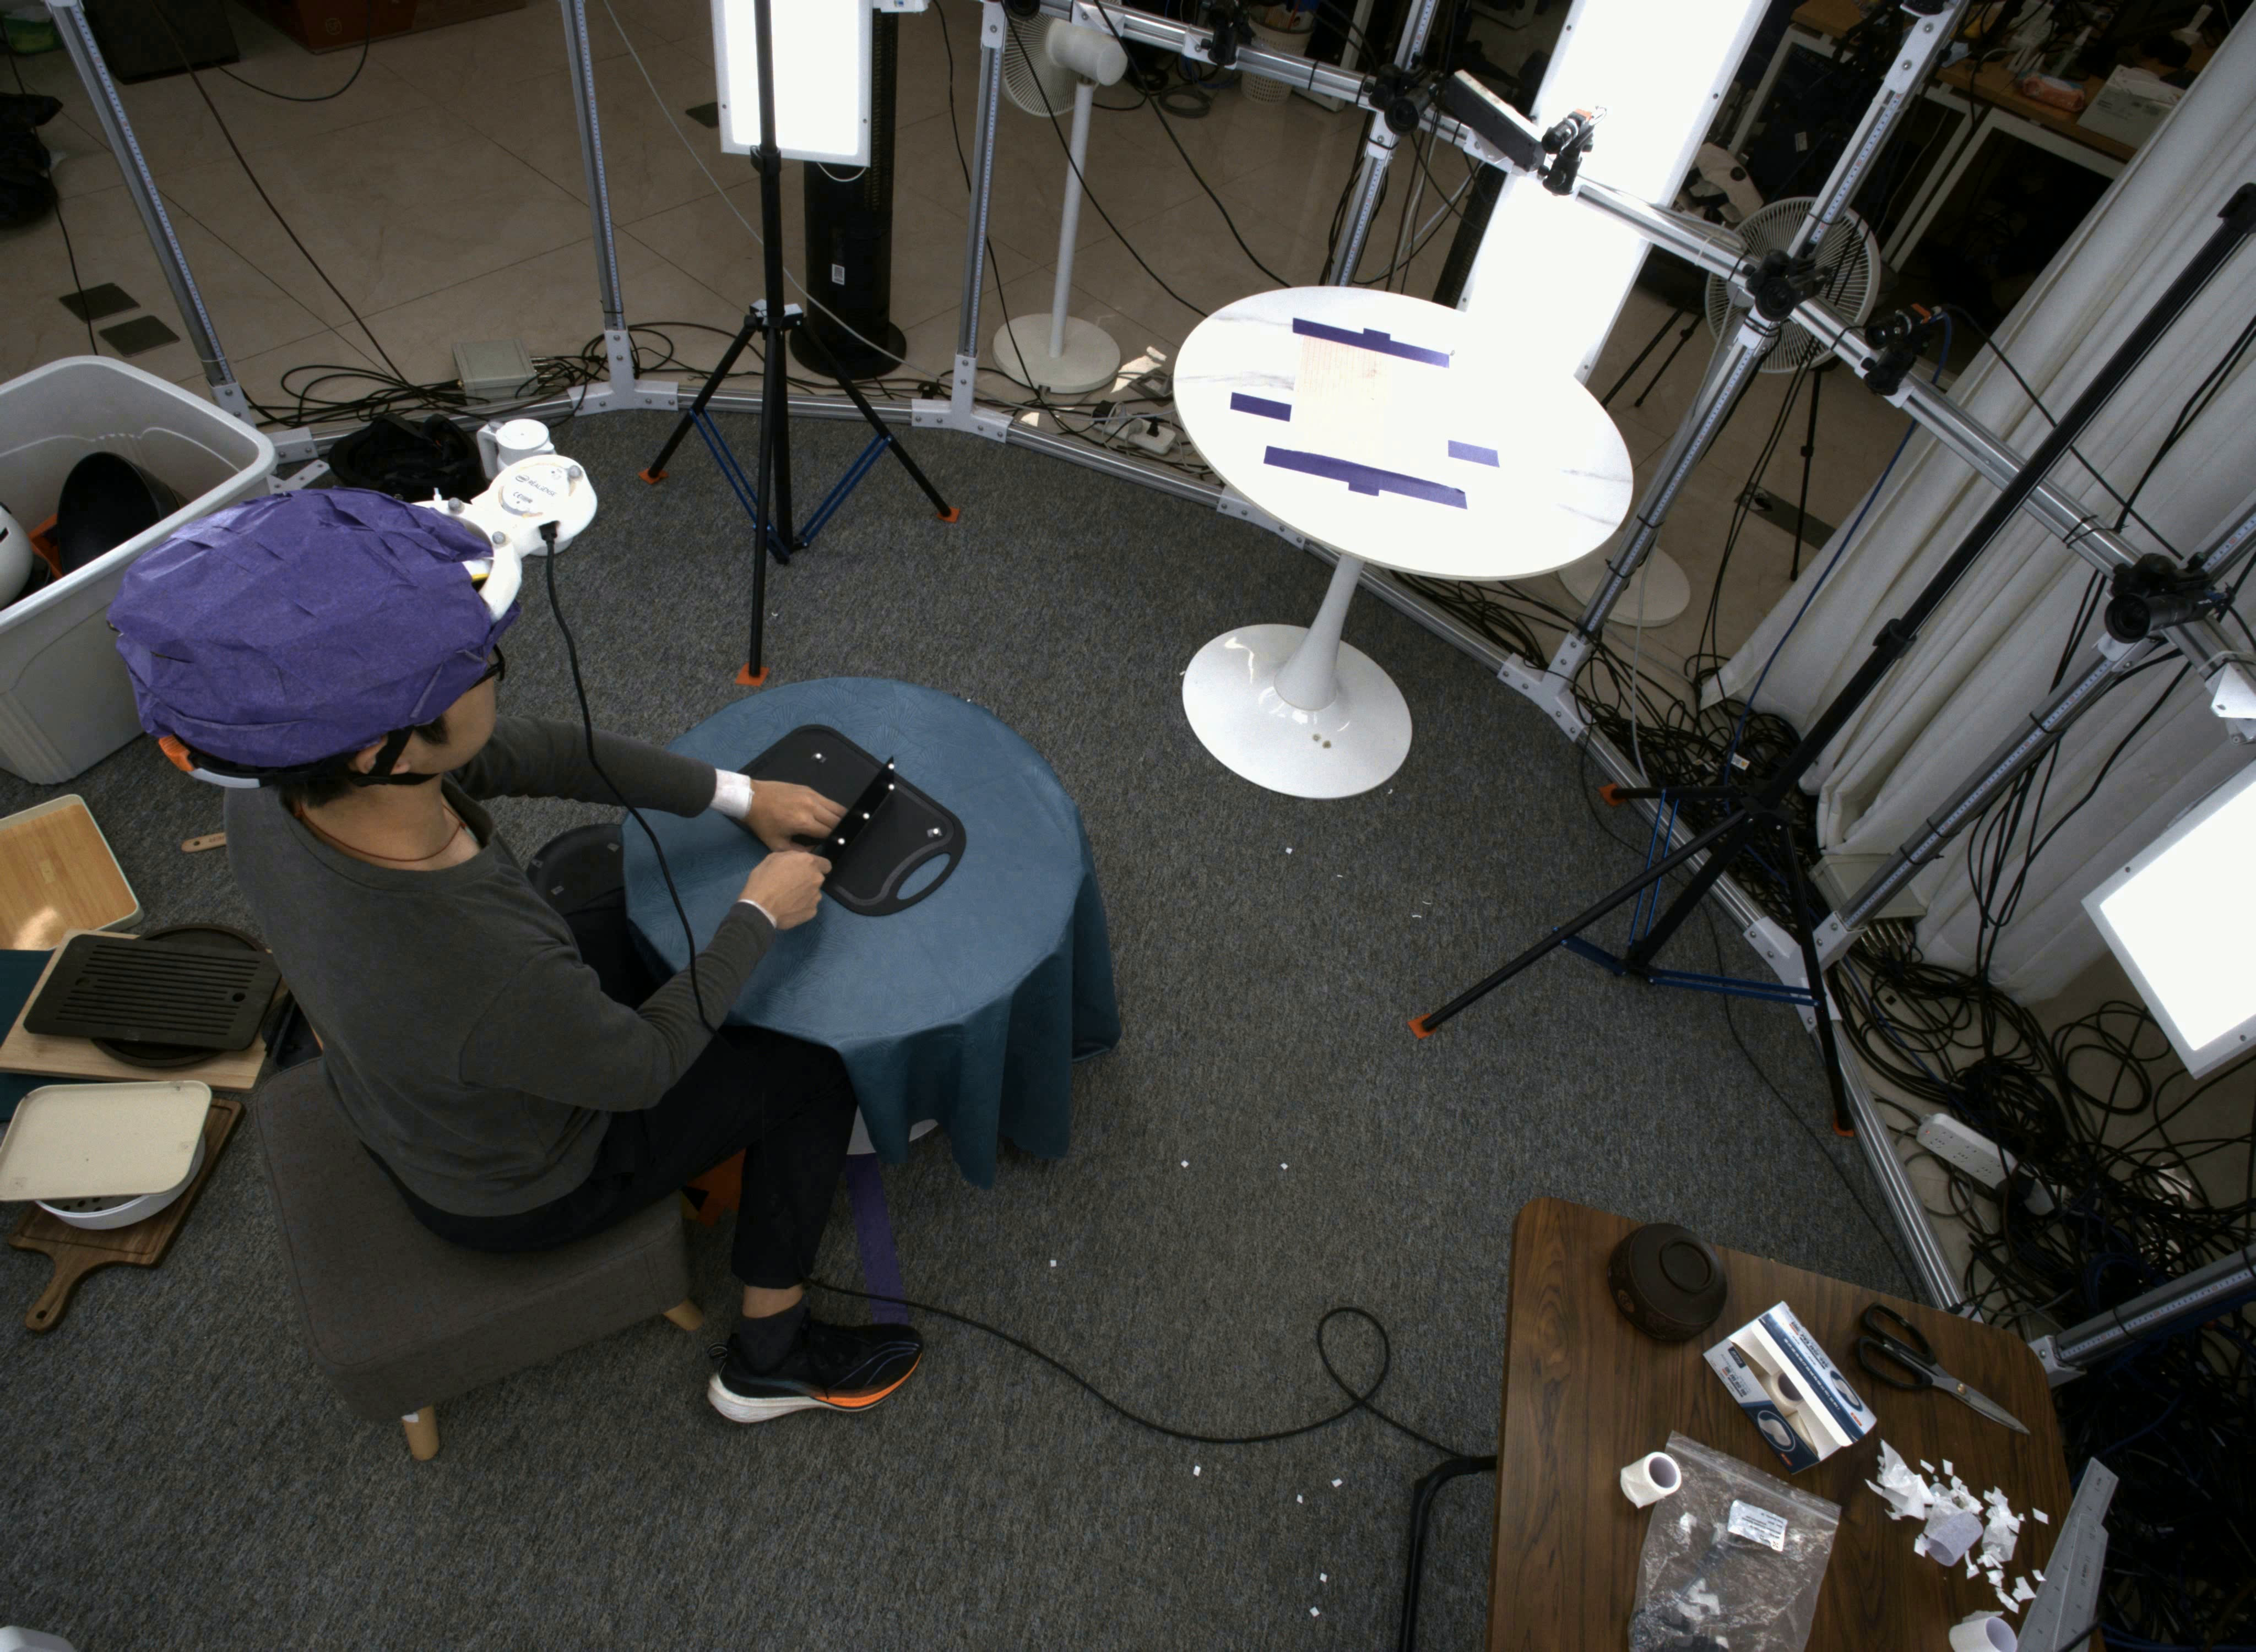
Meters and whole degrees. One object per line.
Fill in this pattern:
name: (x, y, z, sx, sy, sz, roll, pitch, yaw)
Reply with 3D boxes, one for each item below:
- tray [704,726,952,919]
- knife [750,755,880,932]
tray: (-0.396, -0.009, 1.745, 0.319, 0.010, 0.211, 35, 54, 12)
knife: (-0.395, 0.022, 1.667, 0.020, 0.083, 0.300, 20, 46, 11)
